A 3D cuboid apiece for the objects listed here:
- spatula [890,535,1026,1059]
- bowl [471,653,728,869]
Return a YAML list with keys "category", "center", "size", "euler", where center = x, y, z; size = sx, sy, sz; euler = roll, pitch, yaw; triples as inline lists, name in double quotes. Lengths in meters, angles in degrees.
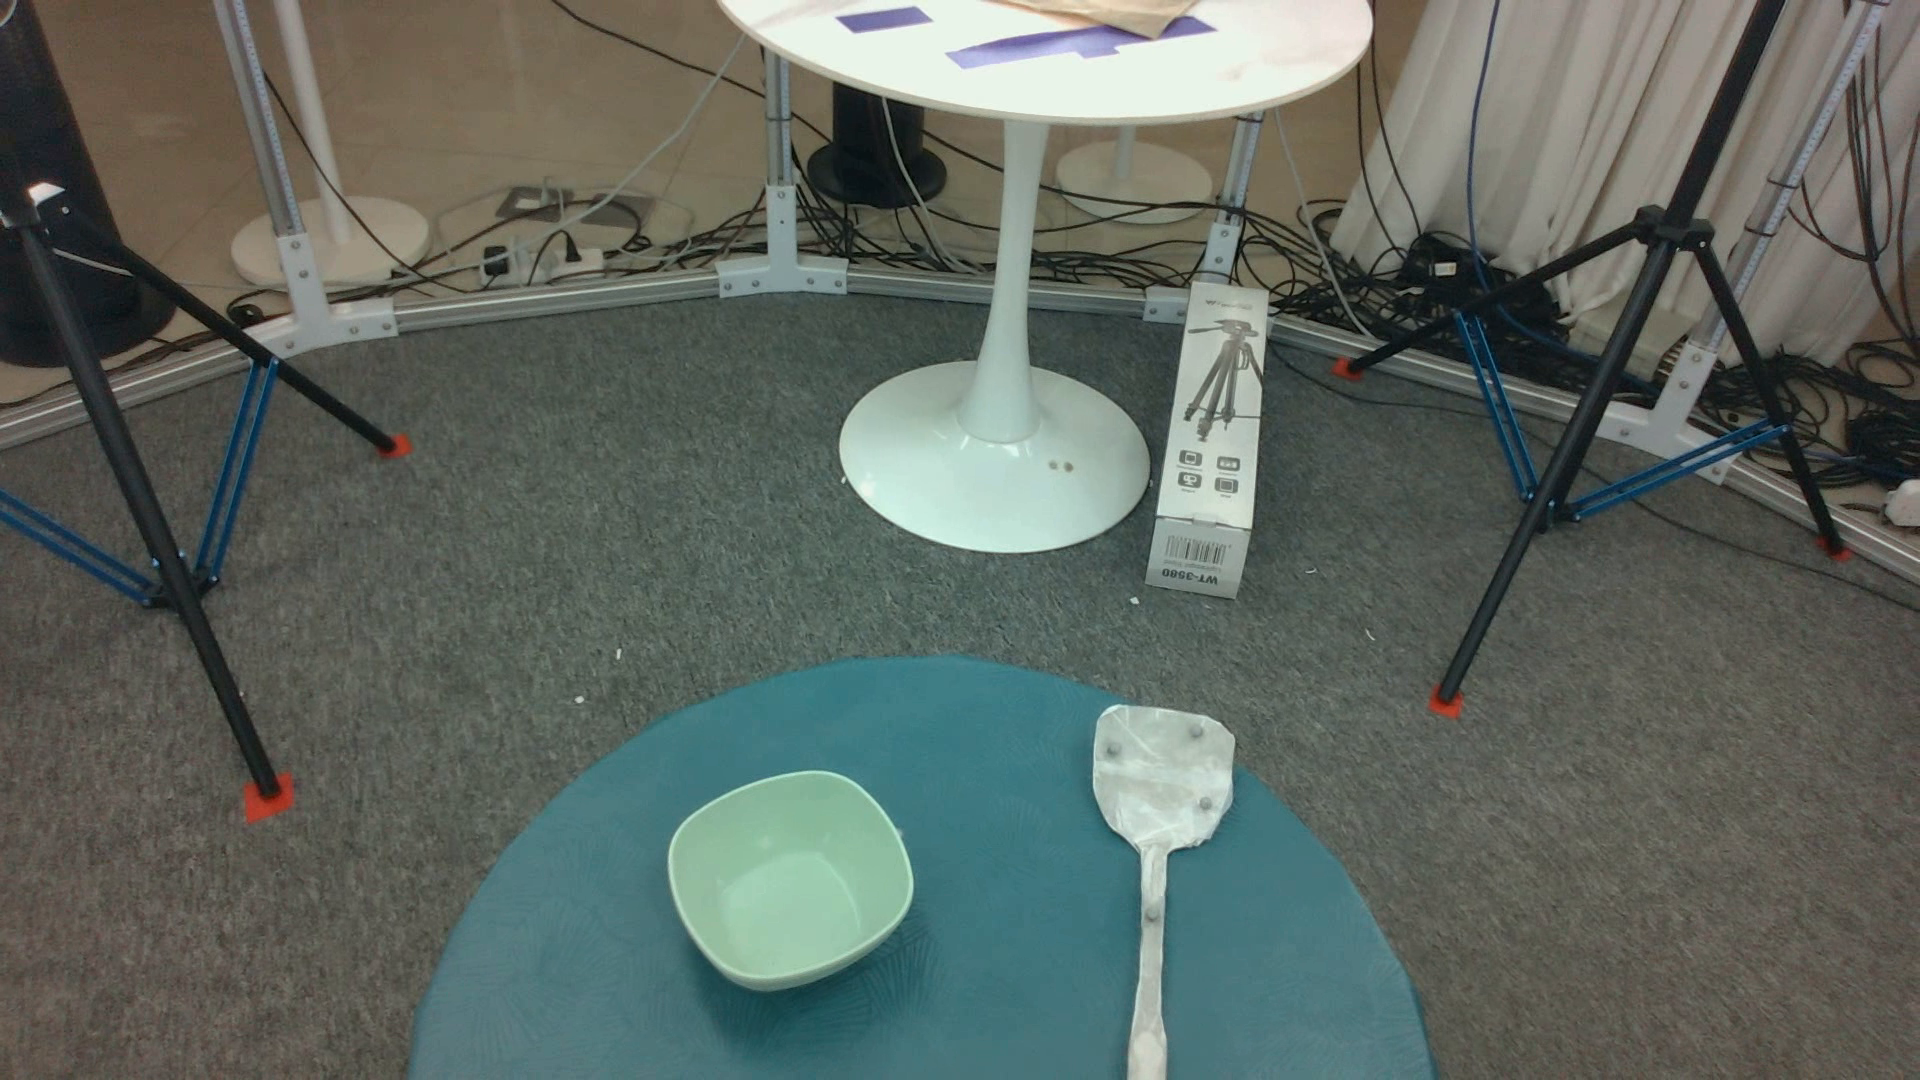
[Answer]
- category: "spatula"
  center: [0.001, 0.145, 0.882]
  size: [0.099, 0.044, 0.366]
  euler: [5, 46, -7]
- category: "bowl"
  center: [-0.217, 0.143, 0.839]
  size: [0.151, 0.058, 0.152]
  euler: [4, 44, -4]
